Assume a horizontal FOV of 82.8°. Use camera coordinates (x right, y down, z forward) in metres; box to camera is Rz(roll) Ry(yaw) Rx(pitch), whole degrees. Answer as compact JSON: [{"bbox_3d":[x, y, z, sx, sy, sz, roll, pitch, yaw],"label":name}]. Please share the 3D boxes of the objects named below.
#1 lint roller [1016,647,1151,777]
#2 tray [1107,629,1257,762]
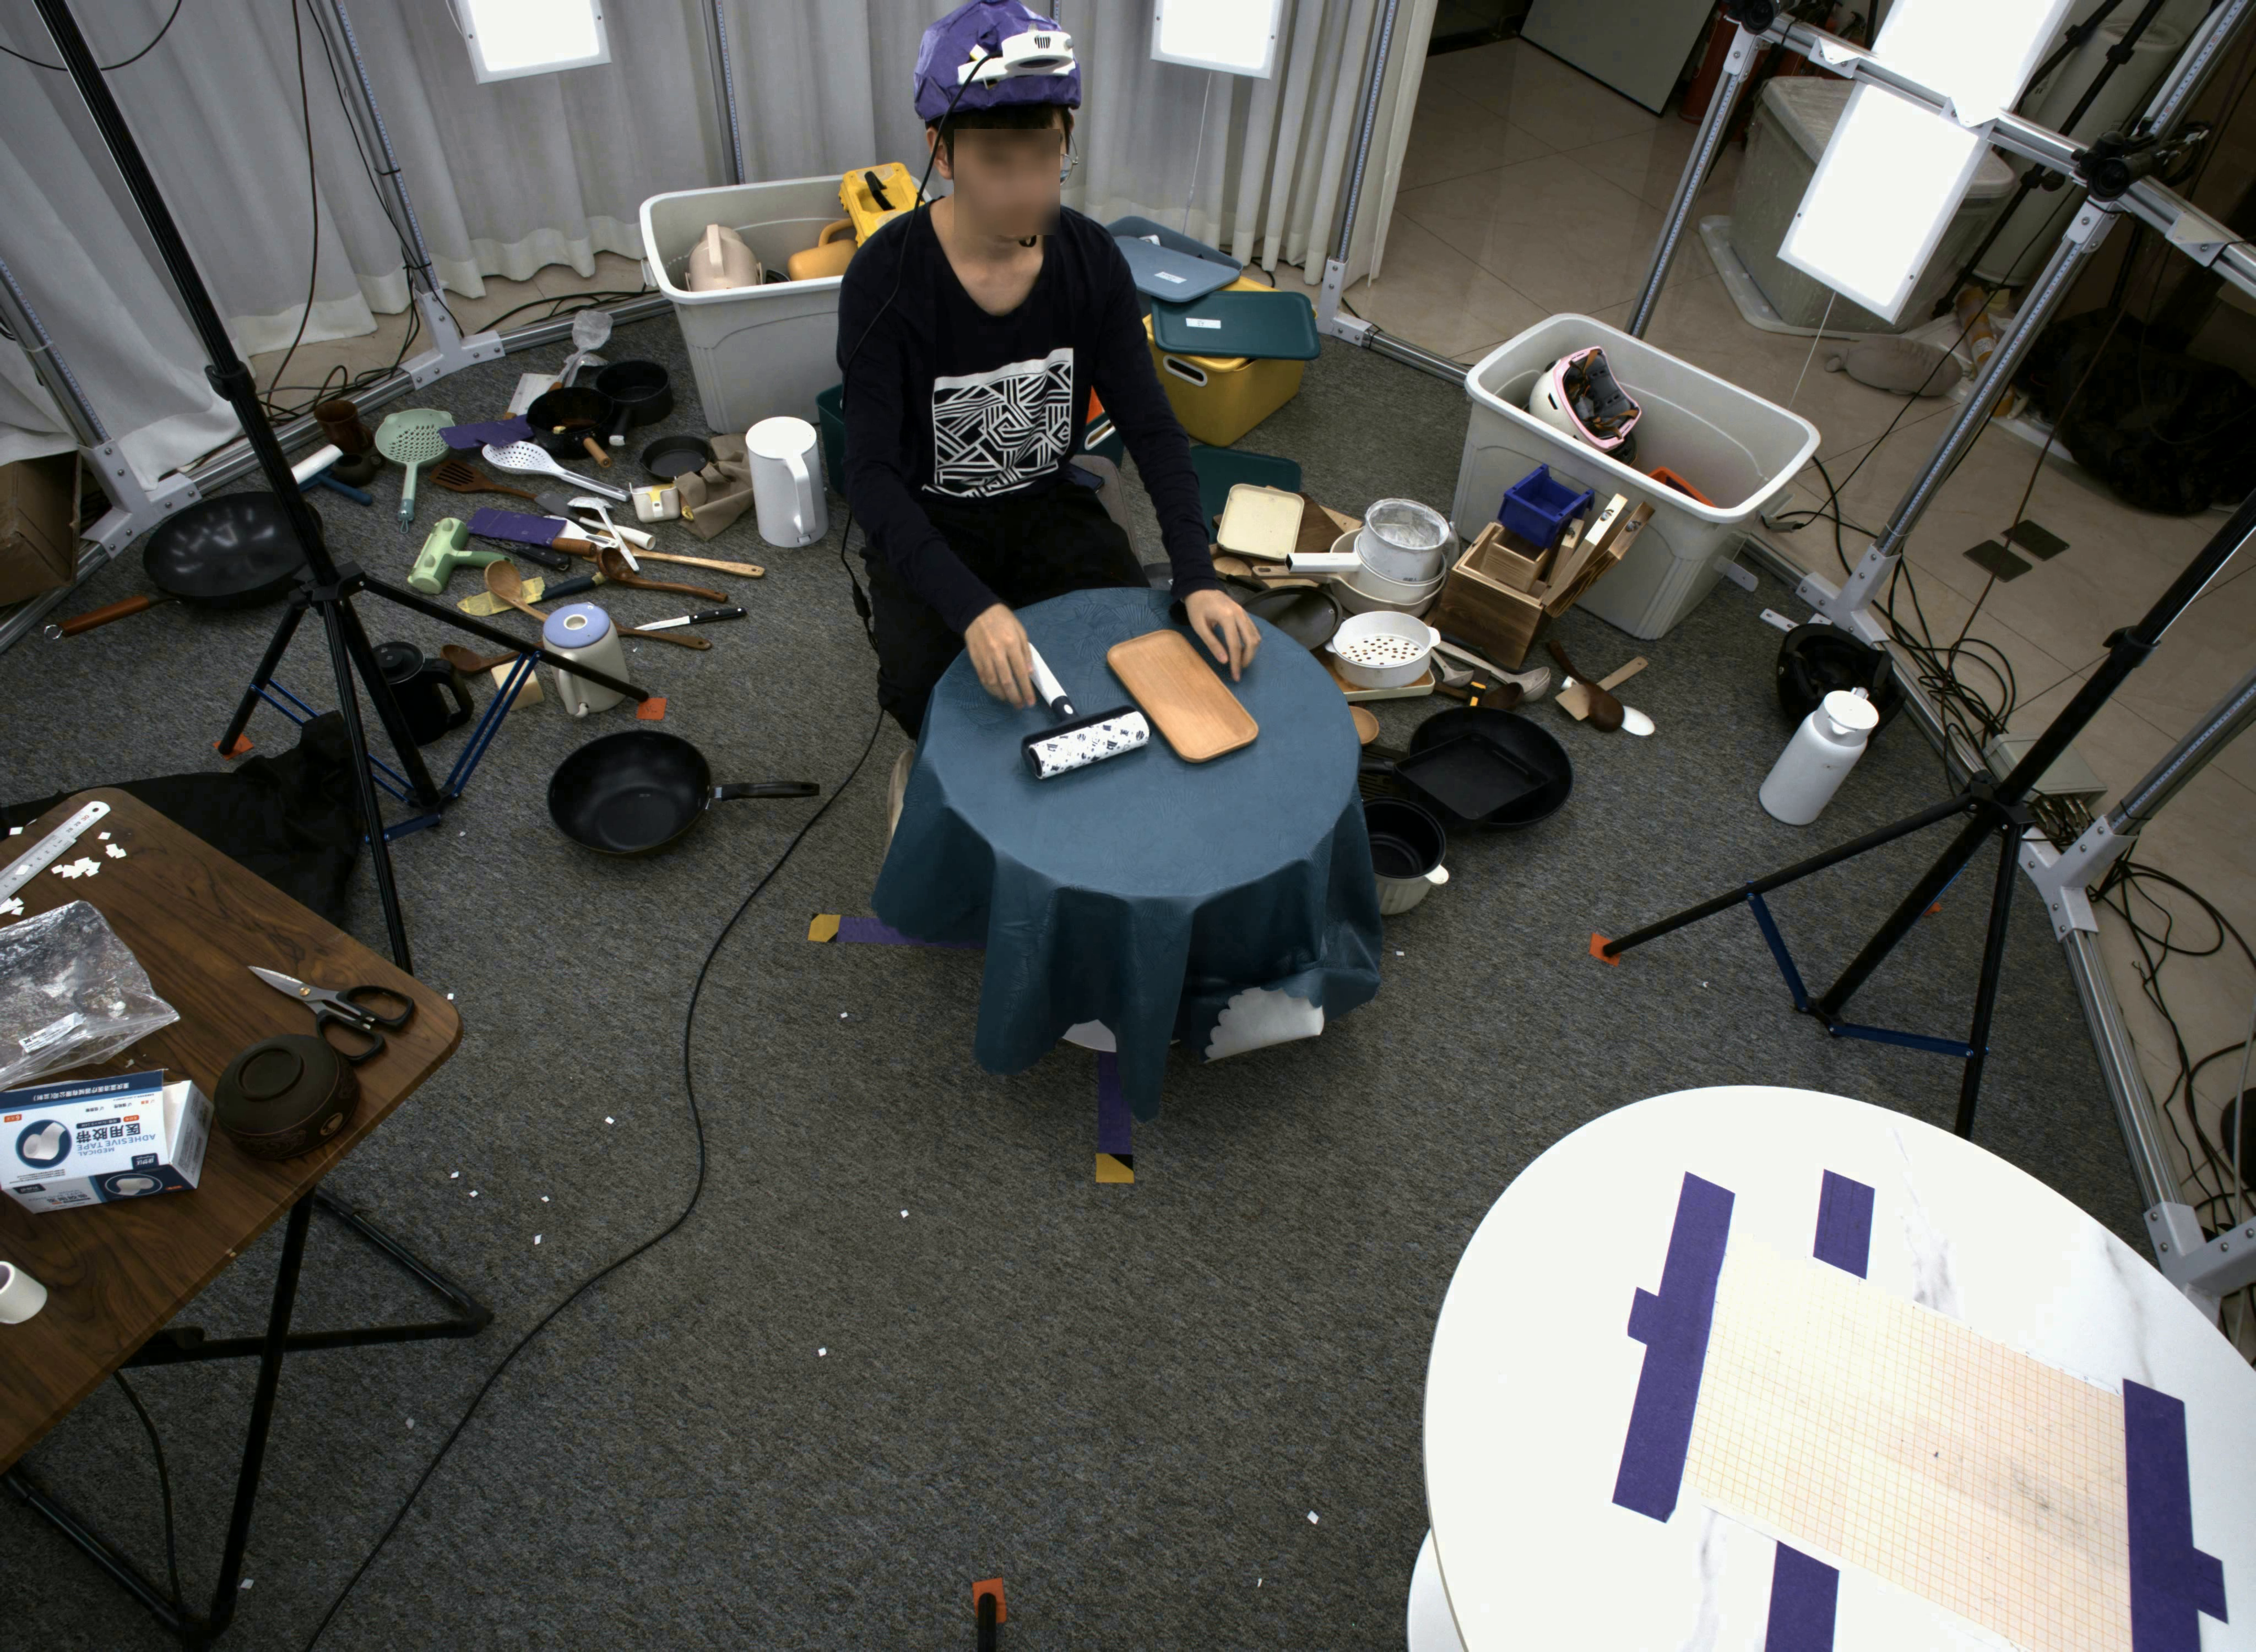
[{"bbox_3d":[-0.100,-0.178,1.790,0.176,0.049,0.252,-20,50,-19],"label":"lint roller"},{"bbox_3d":[0.074,-0.189,1.826,0.131,0.022,0.256,-18,52,-22],"label":"tray"}]
